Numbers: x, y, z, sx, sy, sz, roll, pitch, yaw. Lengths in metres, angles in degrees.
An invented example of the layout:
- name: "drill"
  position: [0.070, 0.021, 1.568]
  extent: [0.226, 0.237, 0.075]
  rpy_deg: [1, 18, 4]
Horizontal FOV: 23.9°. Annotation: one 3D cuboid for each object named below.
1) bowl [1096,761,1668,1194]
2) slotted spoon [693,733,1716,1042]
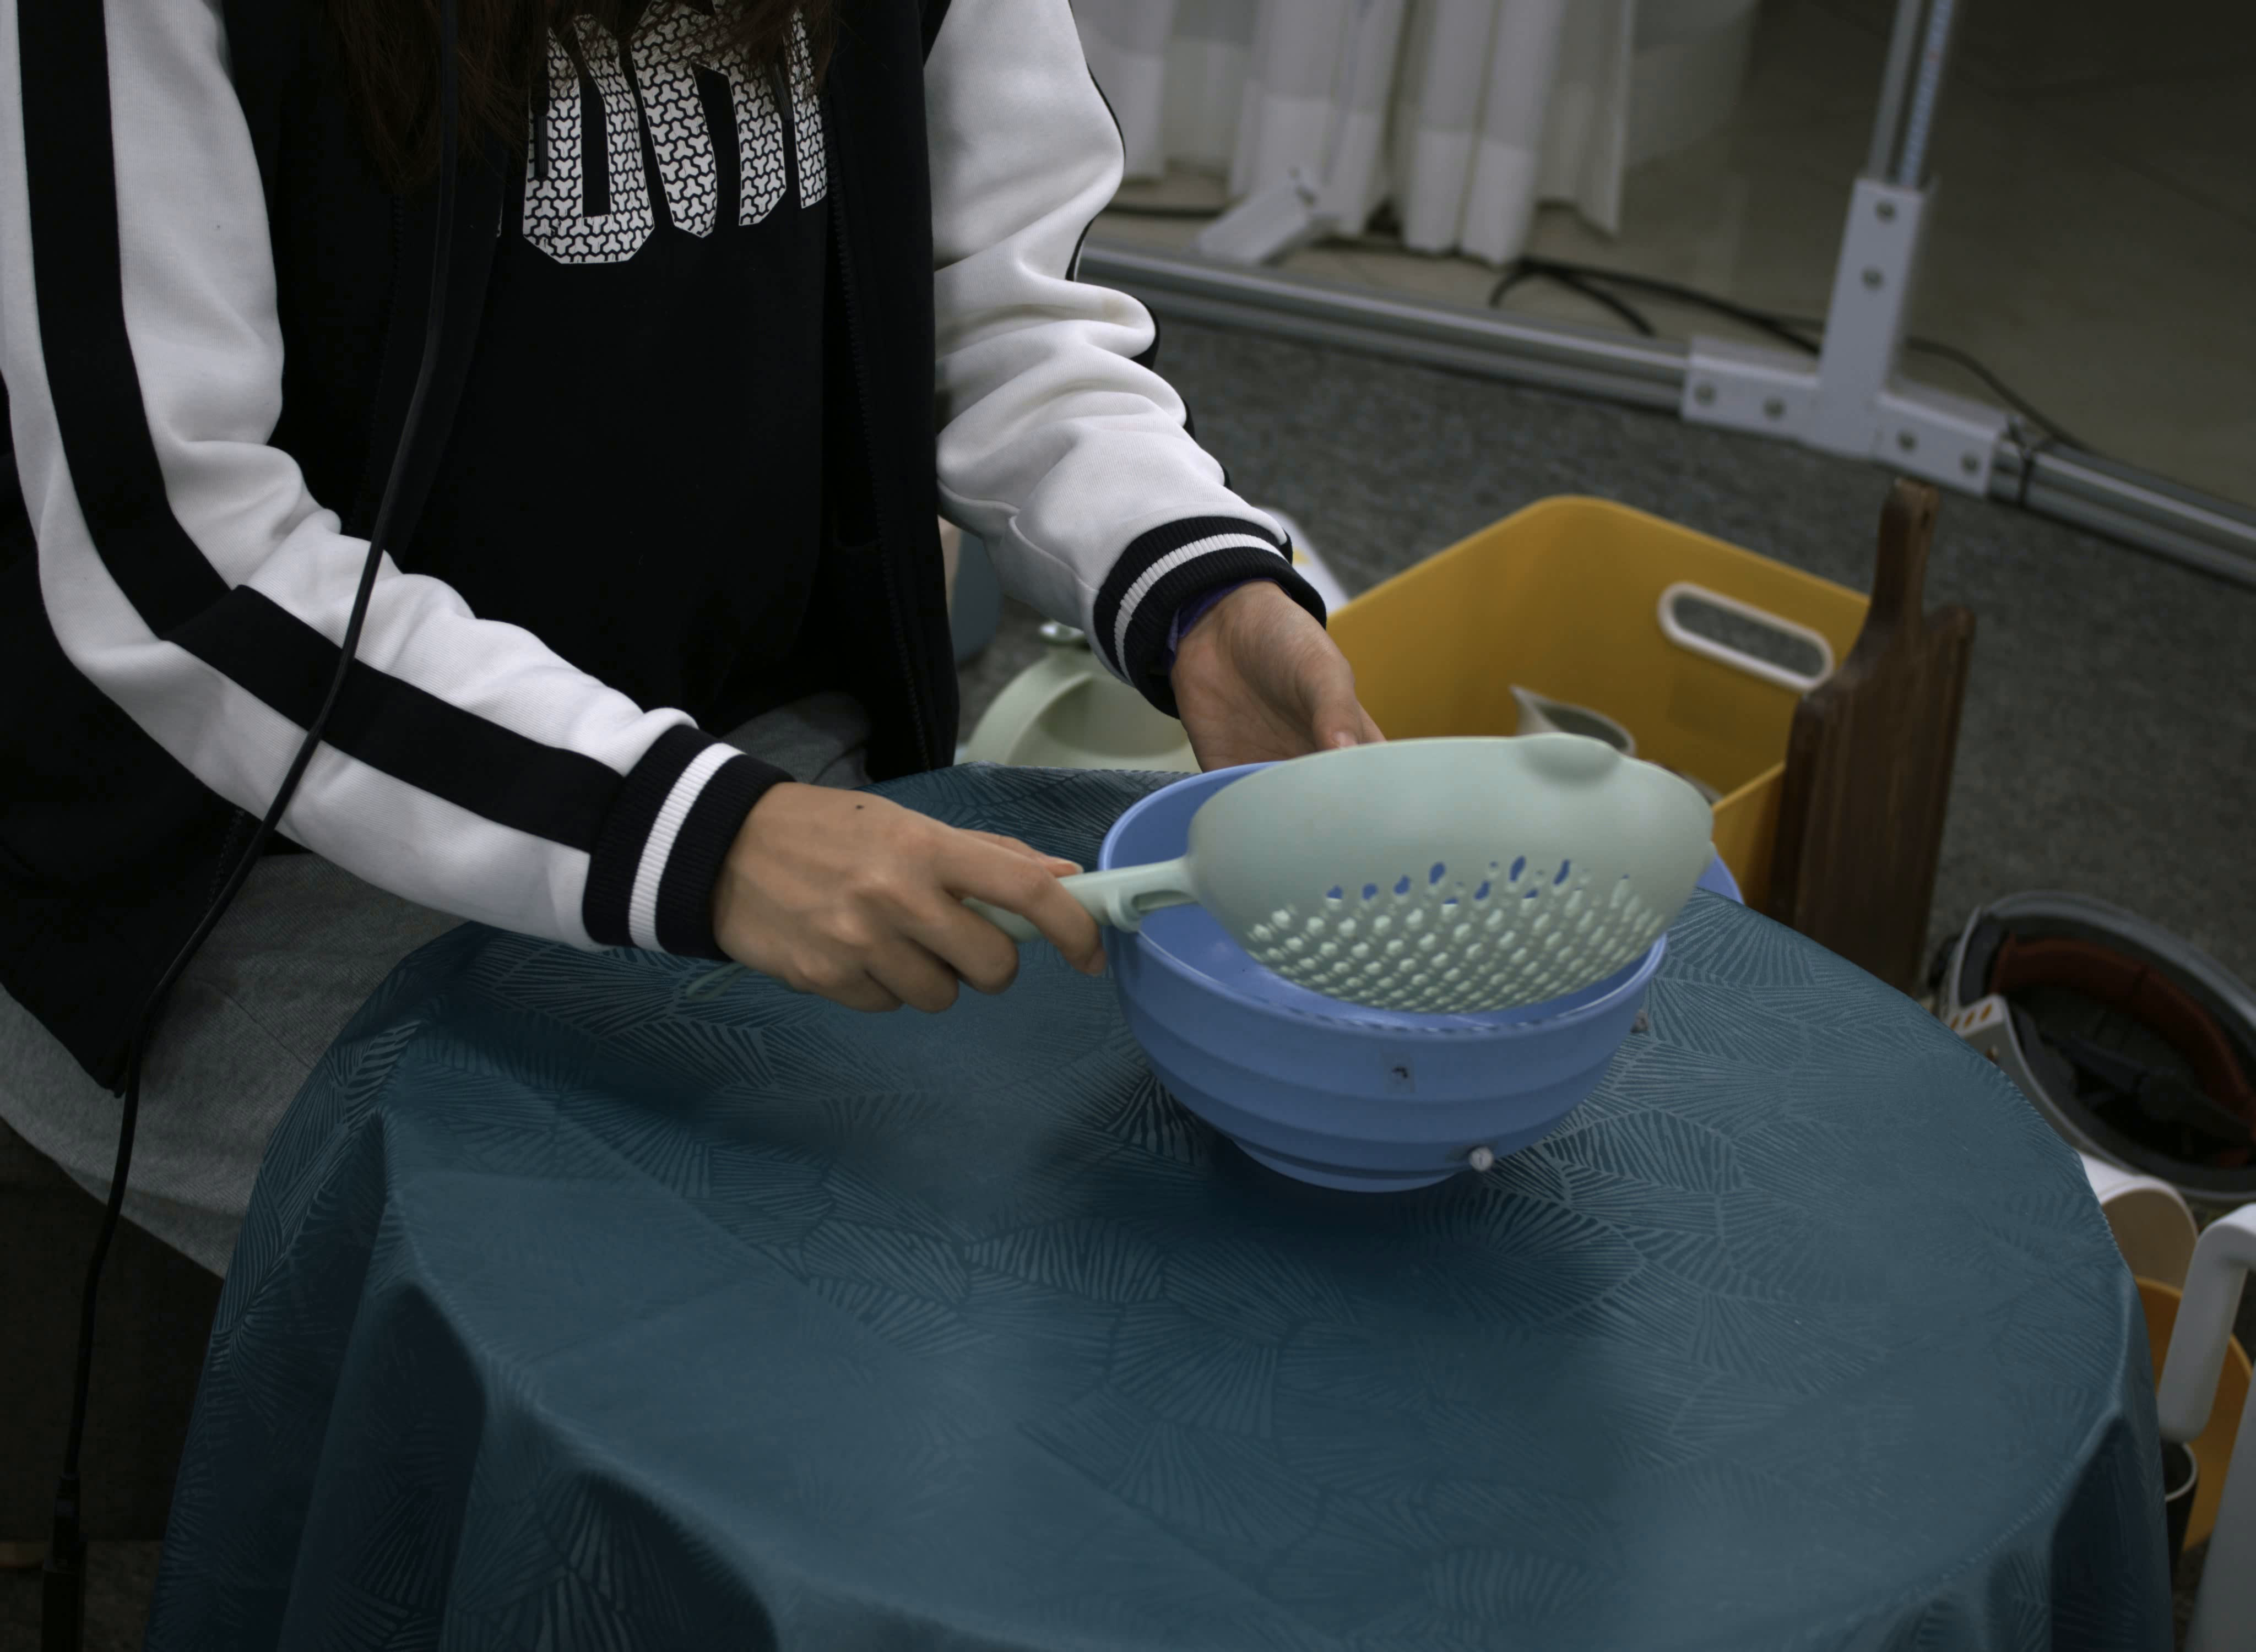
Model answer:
- name: "bowl"
  position: [0.082, 0.063, 1.835]
  extent: [0.196, 0.095, 0.197]
  rpy_deg: [5, 27, -3]
- name: "slotted spoon"
  position: [0.016, 0.030, 1.758]
  extent: [0.360, 0.076, 0.168]
  rpy_deg: [-3, -19, 26]
